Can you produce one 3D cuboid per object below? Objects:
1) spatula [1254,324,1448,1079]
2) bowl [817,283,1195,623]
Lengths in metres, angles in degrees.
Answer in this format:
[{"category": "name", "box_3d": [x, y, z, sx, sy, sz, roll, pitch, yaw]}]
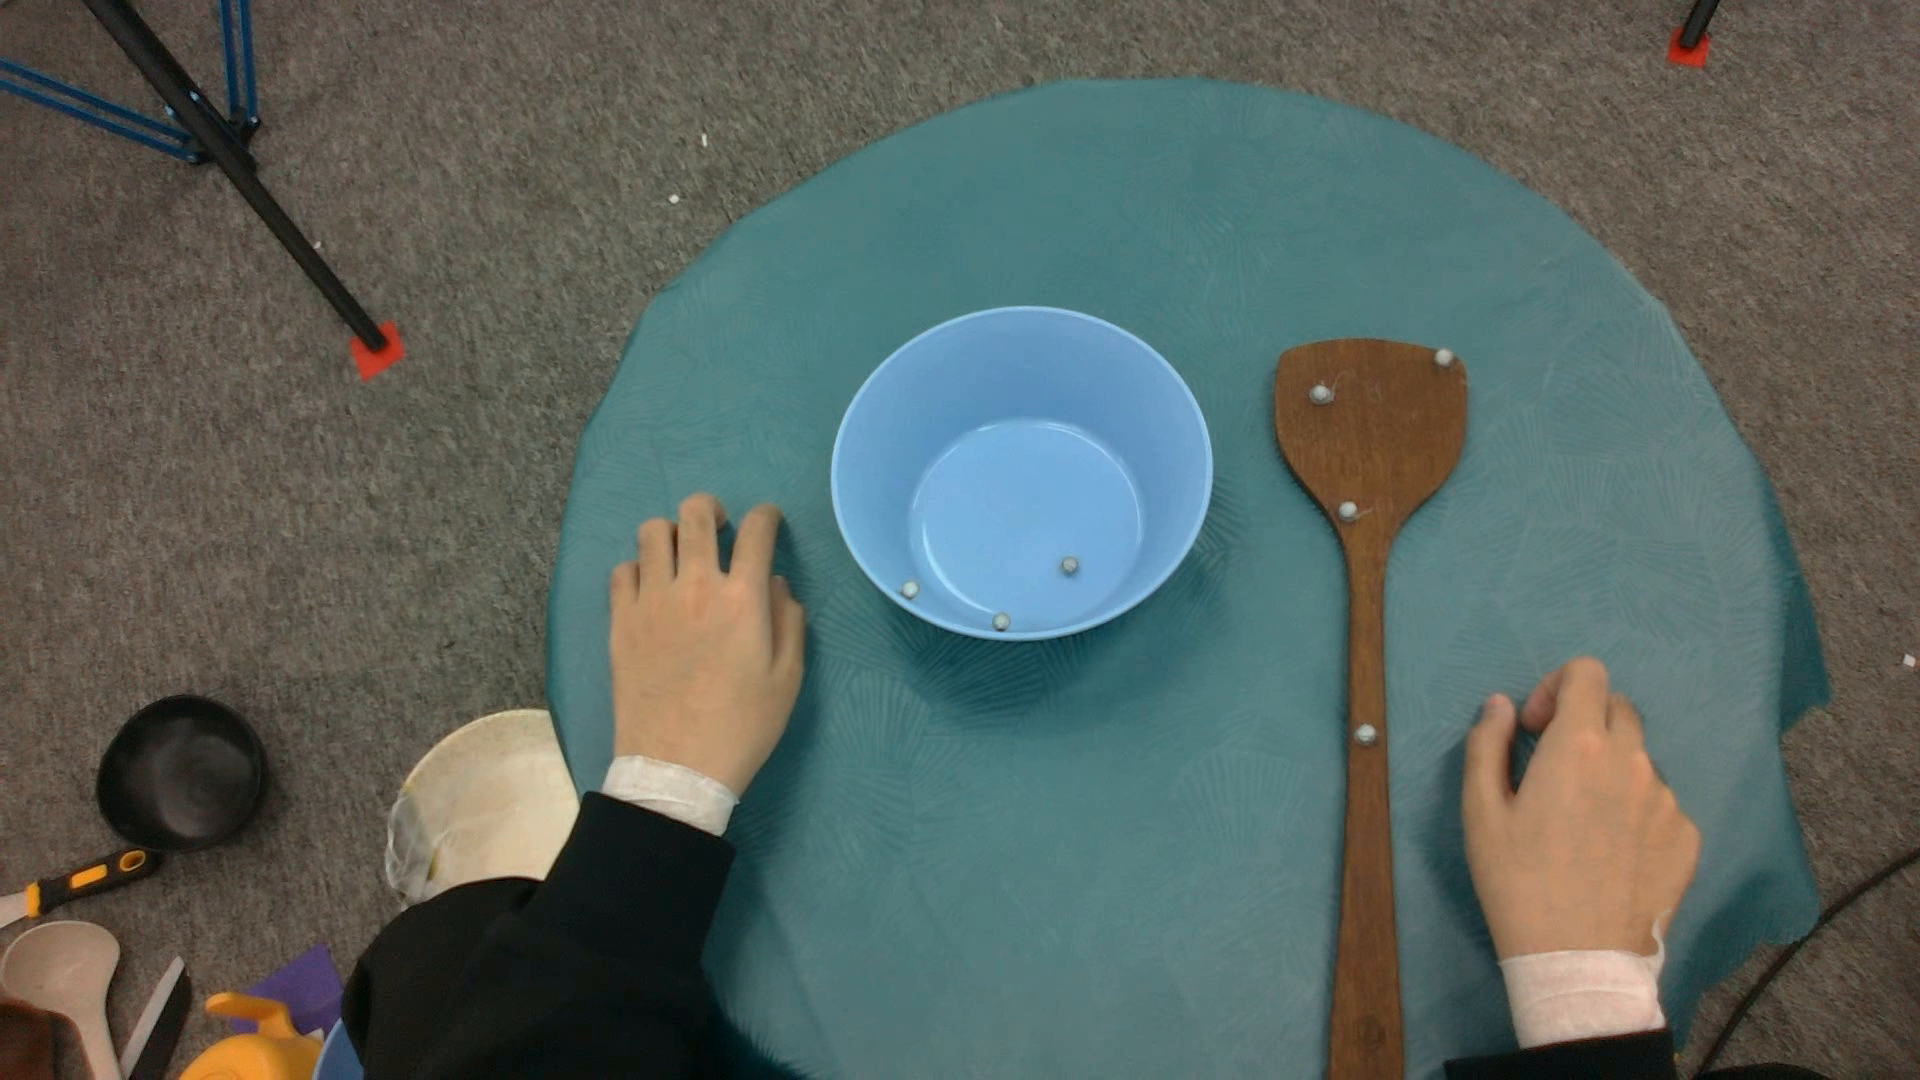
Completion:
[{"category": "spatula", "box_3d": [0.180, 0.063, 0.635, 0.096, 0.016, 0.387, 4, 65, 7]}, {"category": "bowl", "box_3d": [0.023, -0.032, 0.663, 0.176, 0.070, 0.176, -2, 65, 4]}]
